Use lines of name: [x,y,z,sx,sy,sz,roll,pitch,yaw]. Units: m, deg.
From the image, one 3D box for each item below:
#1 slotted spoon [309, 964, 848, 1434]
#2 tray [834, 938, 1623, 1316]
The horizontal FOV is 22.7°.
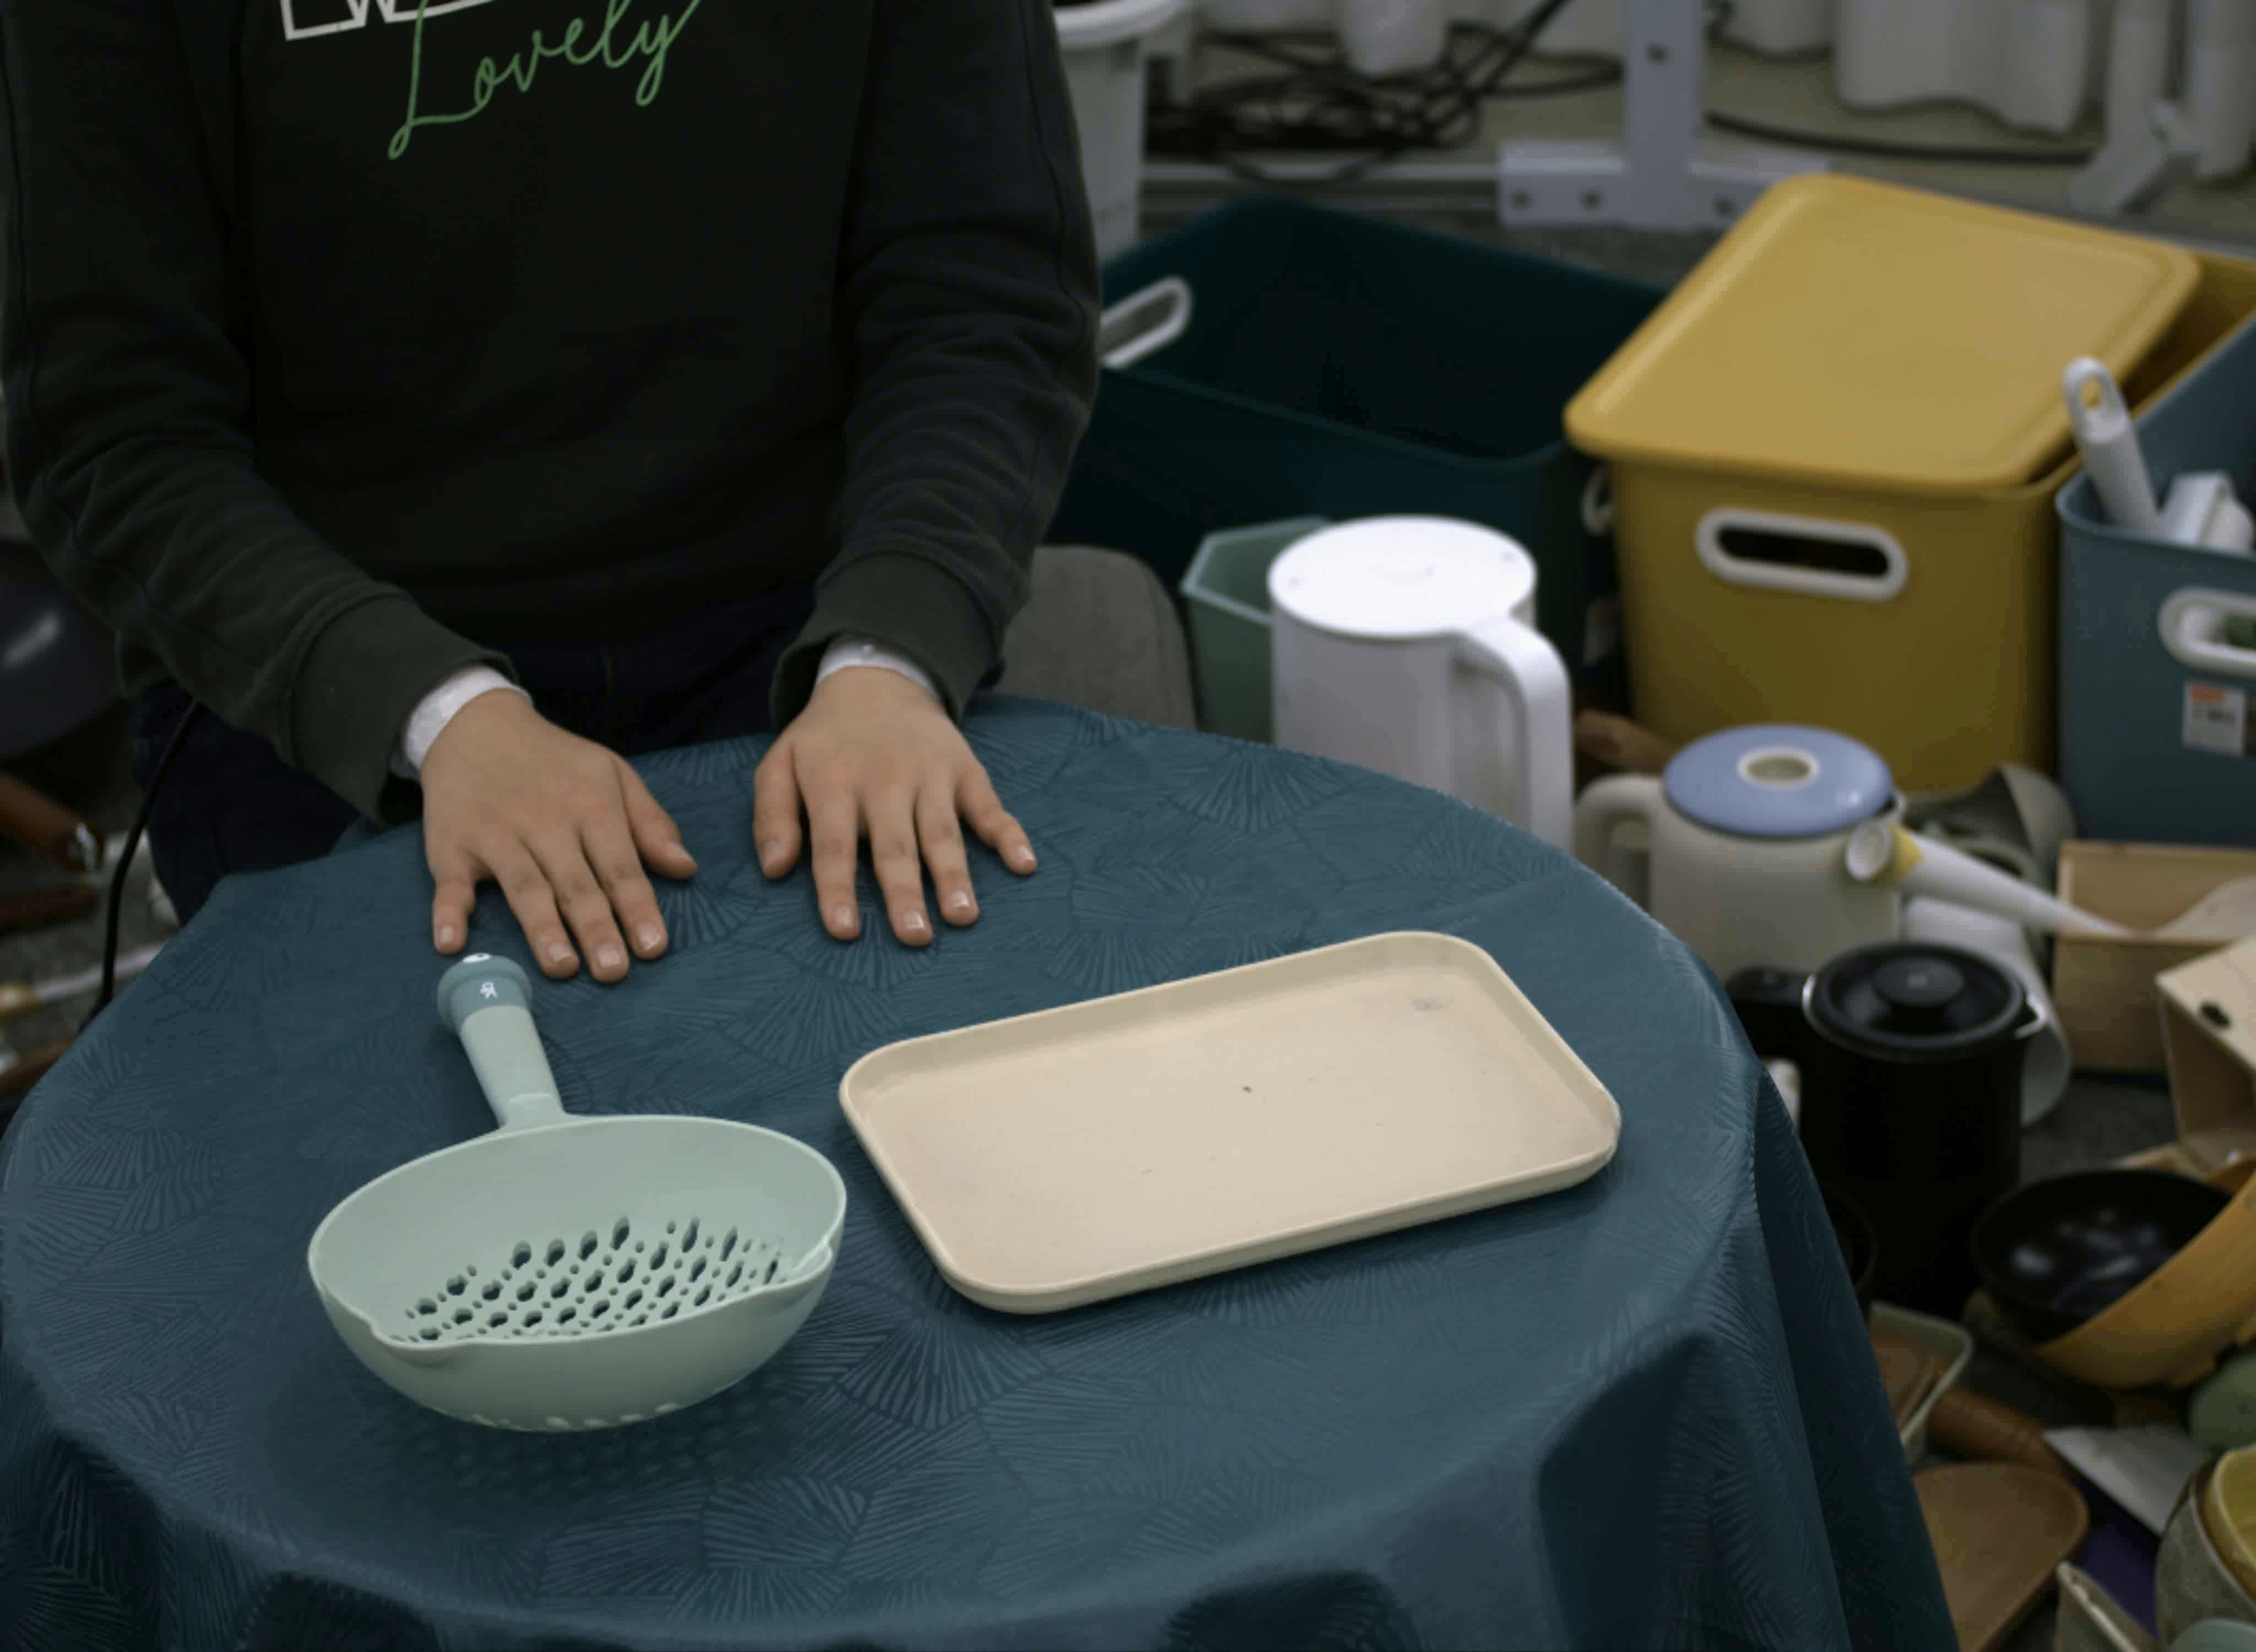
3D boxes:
slotted spoon: [-0.192,0.106,1.843,0.169,0.074,0.362,-8,27,-11]
tray: [0.032,0.100,1.882,0.240,0.017,0.173,-11,29,-17]
